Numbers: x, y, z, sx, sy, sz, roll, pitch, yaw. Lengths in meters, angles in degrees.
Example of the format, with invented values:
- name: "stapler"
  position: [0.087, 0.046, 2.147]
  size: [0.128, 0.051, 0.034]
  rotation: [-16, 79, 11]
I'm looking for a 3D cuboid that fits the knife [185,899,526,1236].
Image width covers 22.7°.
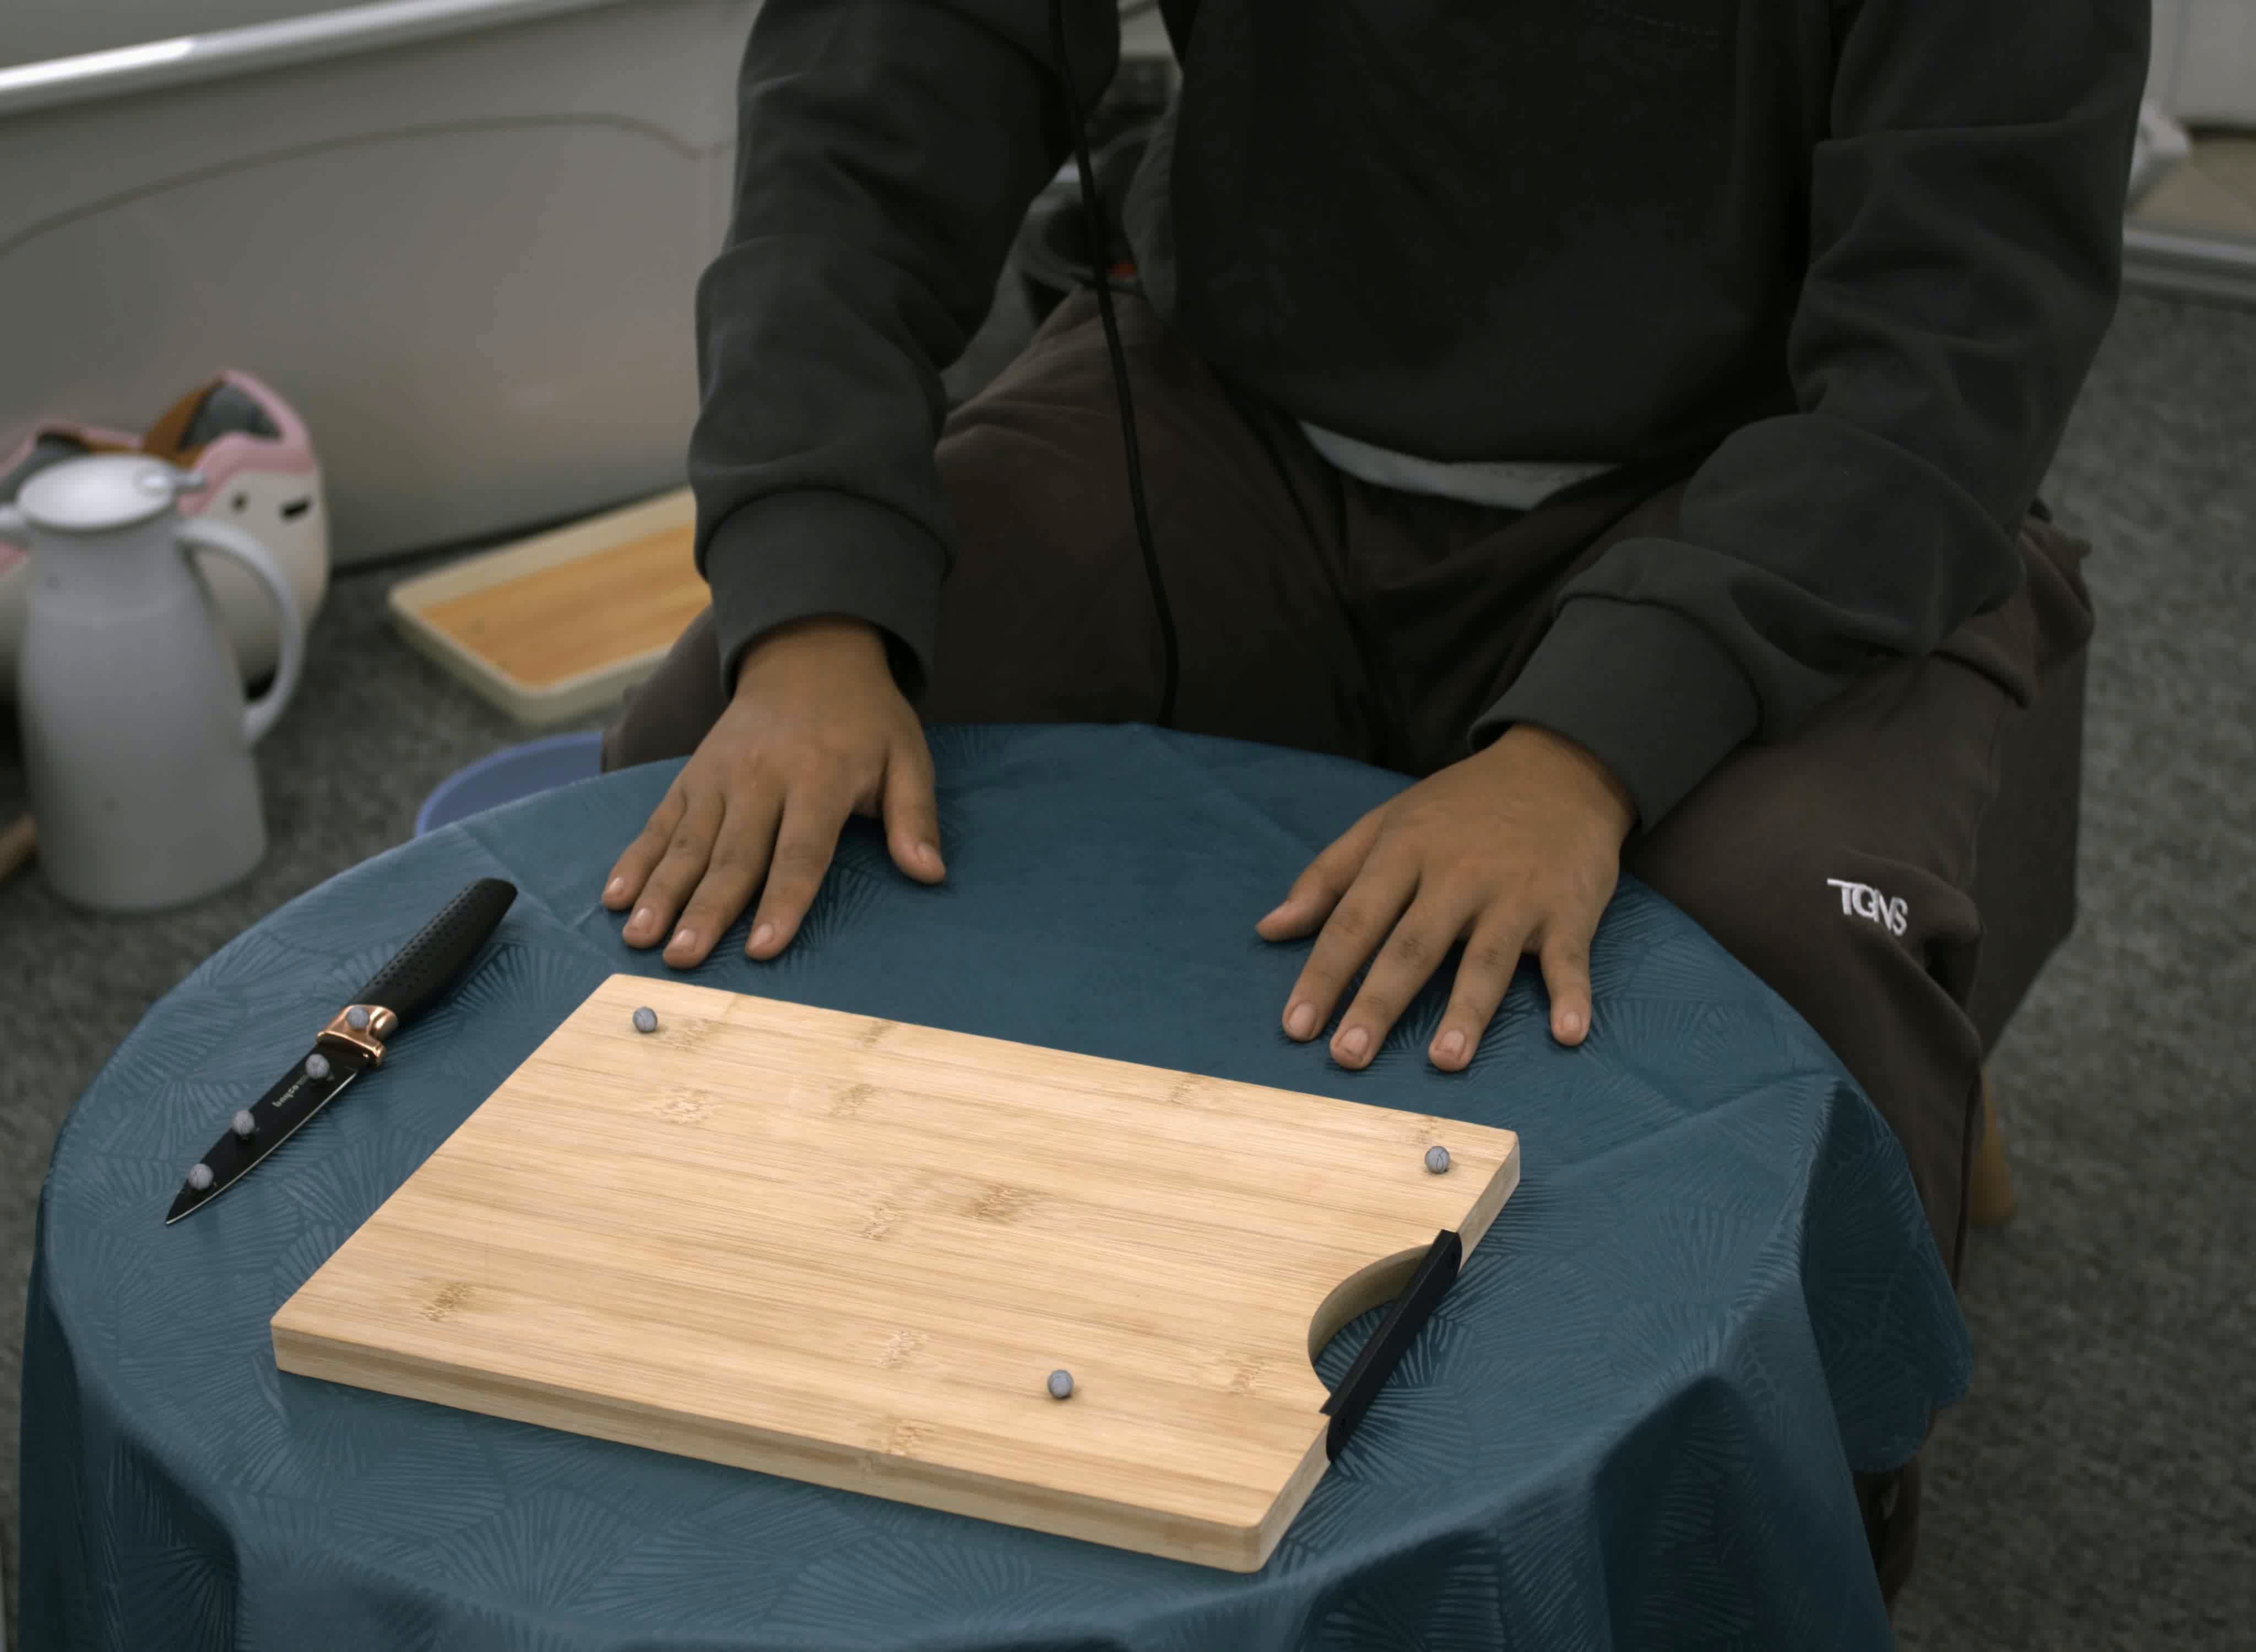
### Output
- name: "knife"
  position: [-0.270, 0.083, 1.953]
  size: [0.026, 0.017, 0.229]
  rotation: [16, 33, 19]

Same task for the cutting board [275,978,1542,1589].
- name: "cutting board"
  position: [-0.067, 0.140, 1.818]
  size: [0.346, 0.023, 0.255]
  rotation: [8, 30, 21]
